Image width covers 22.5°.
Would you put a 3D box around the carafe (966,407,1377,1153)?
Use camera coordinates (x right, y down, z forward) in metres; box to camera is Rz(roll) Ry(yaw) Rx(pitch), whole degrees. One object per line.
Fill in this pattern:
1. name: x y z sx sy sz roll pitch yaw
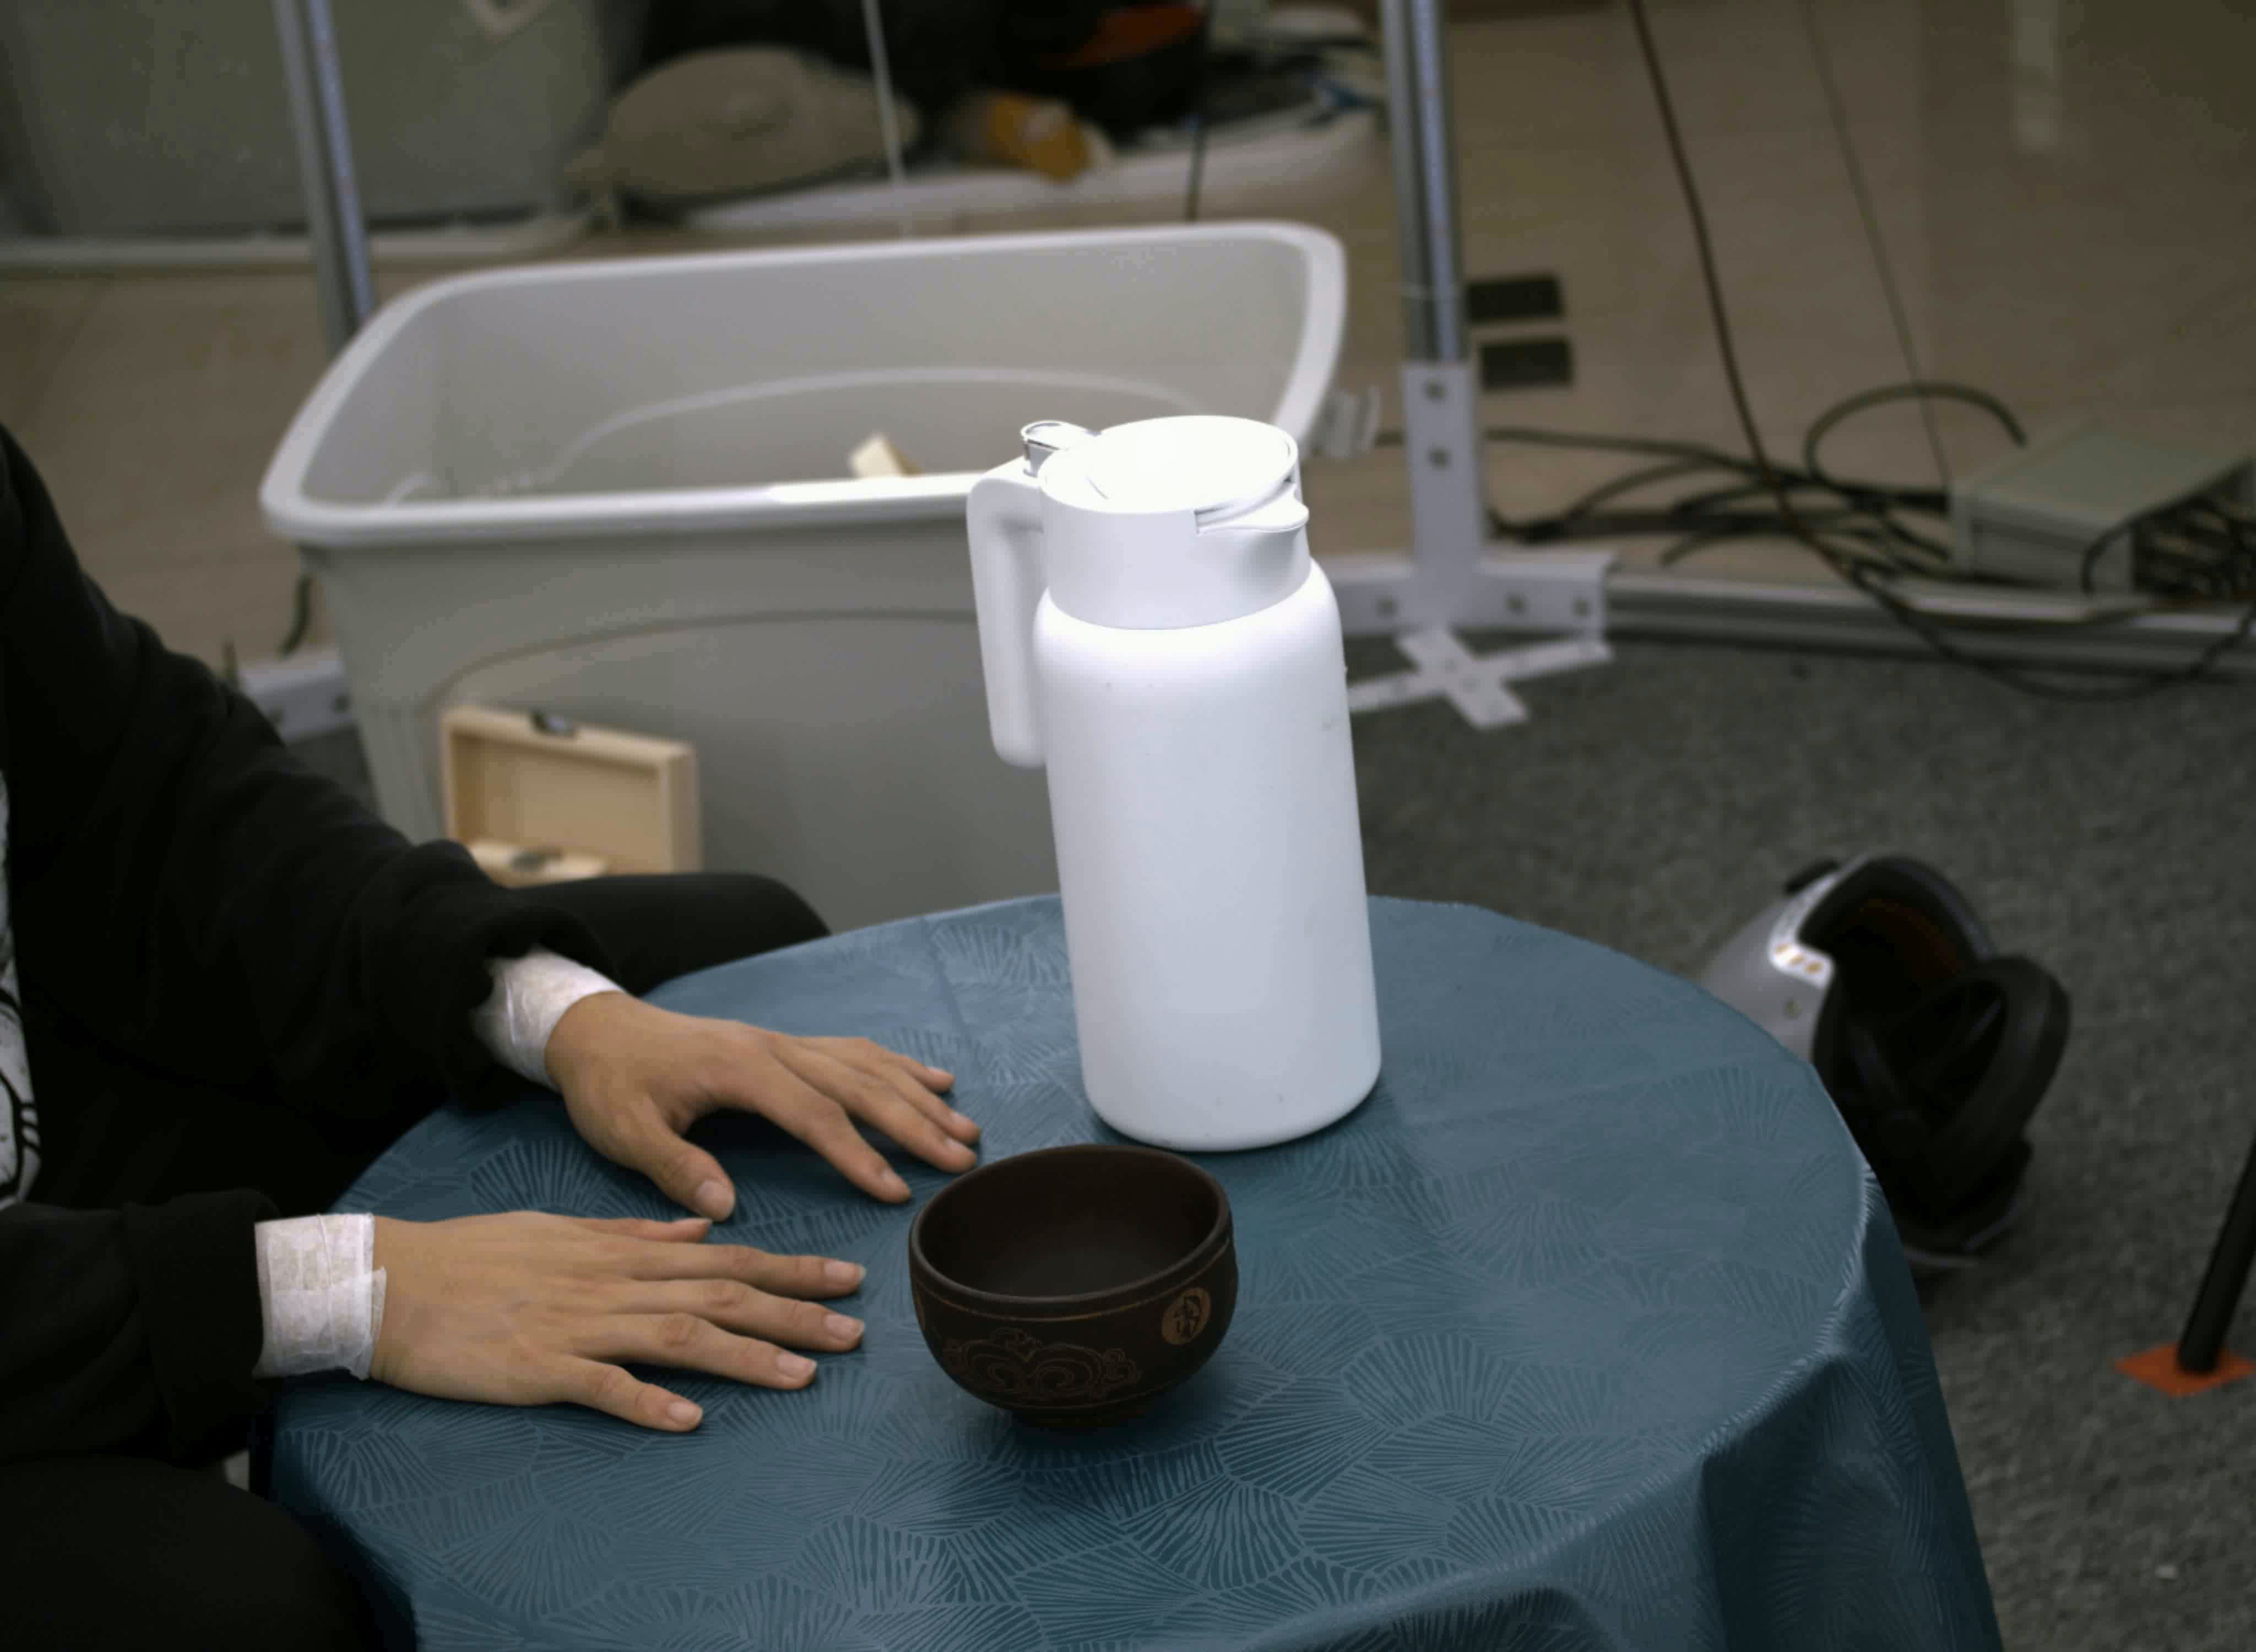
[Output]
1. carafe: 0.015 -0.020 2.166 0.171 0.273 0.122 18 37 41

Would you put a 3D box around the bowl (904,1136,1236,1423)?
1. bowl: -0.019 0.167 2.005 0.118 0.071 0.116 -4 26 2
